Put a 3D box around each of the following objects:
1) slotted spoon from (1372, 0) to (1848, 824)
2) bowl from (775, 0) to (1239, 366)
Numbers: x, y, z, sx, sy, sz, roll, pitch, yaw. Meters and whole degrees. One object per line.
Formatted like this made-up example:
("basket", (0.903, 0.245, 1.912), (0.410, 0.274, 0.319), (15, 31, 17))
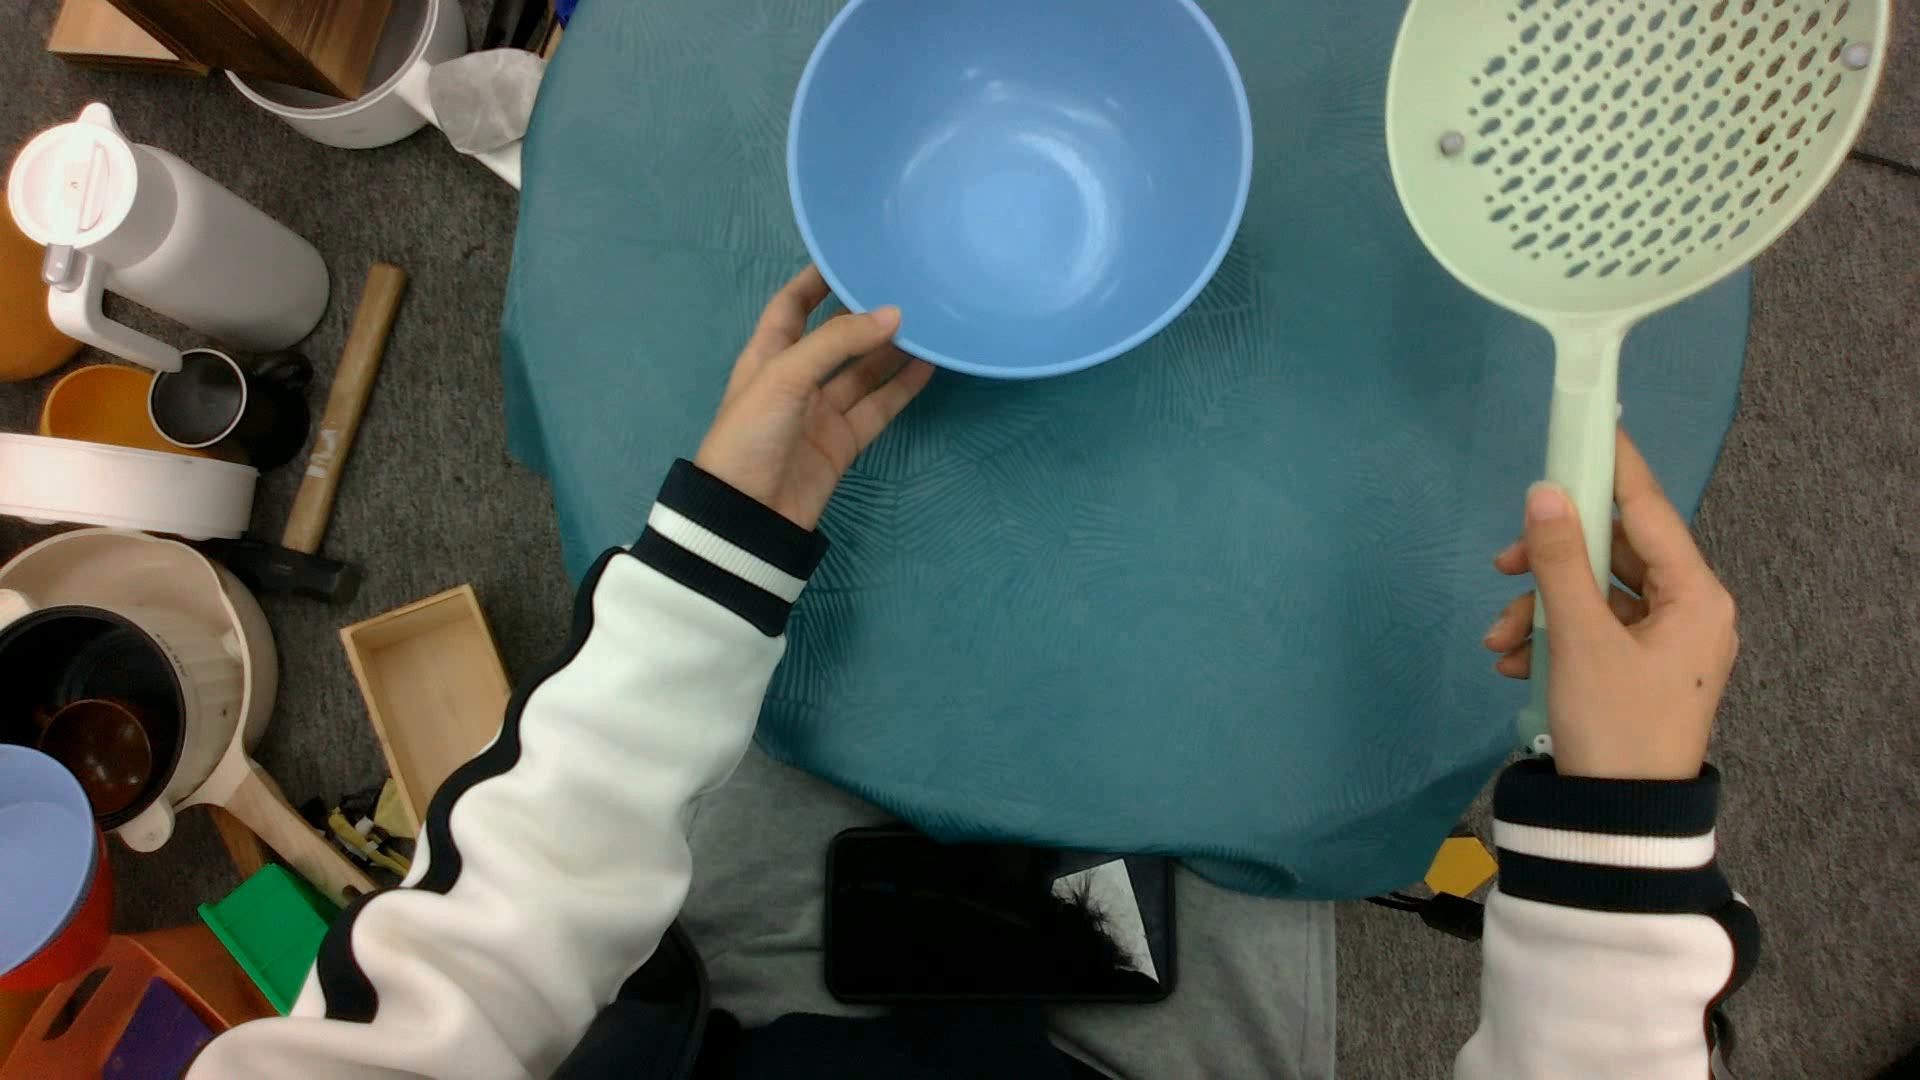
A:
("slotted spoon", (0.227, -0.071, 0.510), (0.075, 0.169, 0.359), (8, 90, -39))
("bowl", (0.021, -0.165, 0.627), (0.196, 0.095, 0.196), (0, 83, 1))
